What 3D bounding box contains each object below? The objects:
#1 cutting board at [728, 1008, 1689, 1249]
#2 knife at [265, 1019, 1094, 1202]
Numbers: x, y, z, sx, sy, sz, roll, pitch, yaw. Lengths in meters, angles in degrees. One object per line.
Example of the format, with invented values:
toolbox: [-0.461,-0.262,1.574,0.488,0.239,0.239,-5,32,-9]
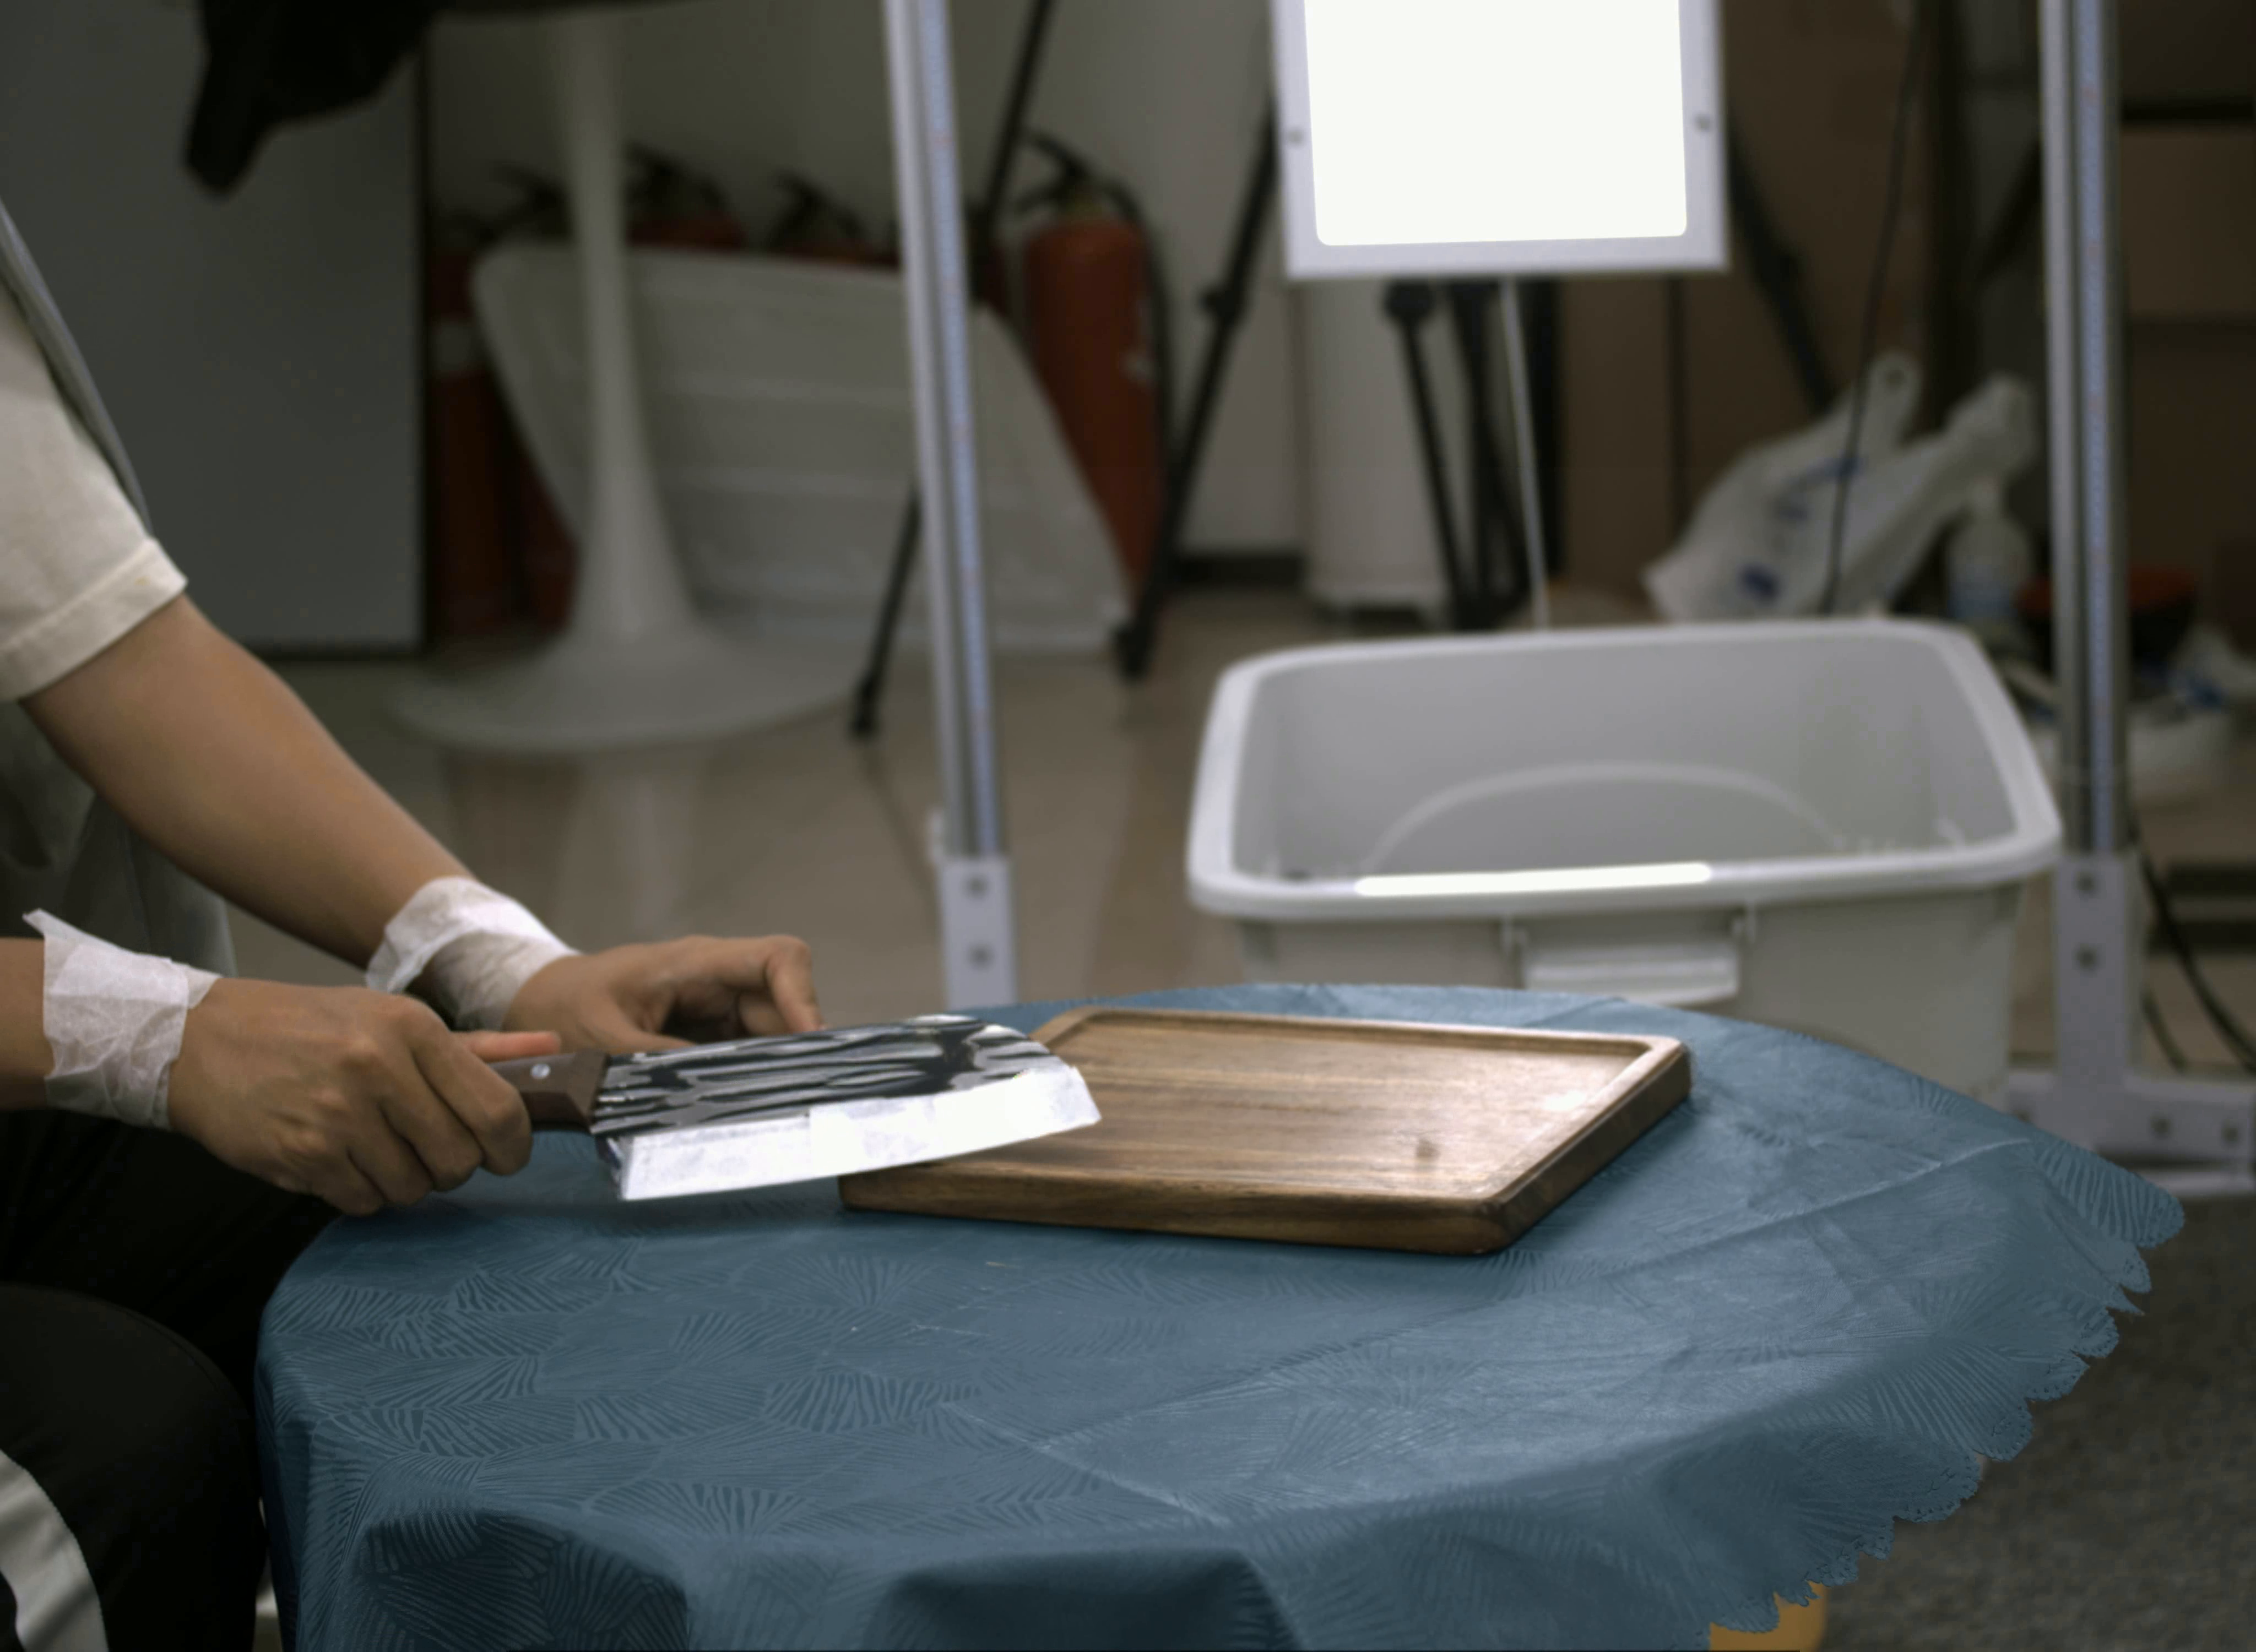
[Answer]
cutting board: [0.005,0.102,1.953,0.358,0.023,0.197,1,15,28]
knife: [-0.158,0.102,1.920,0.301,0.024,0.068,-6,46,10]
